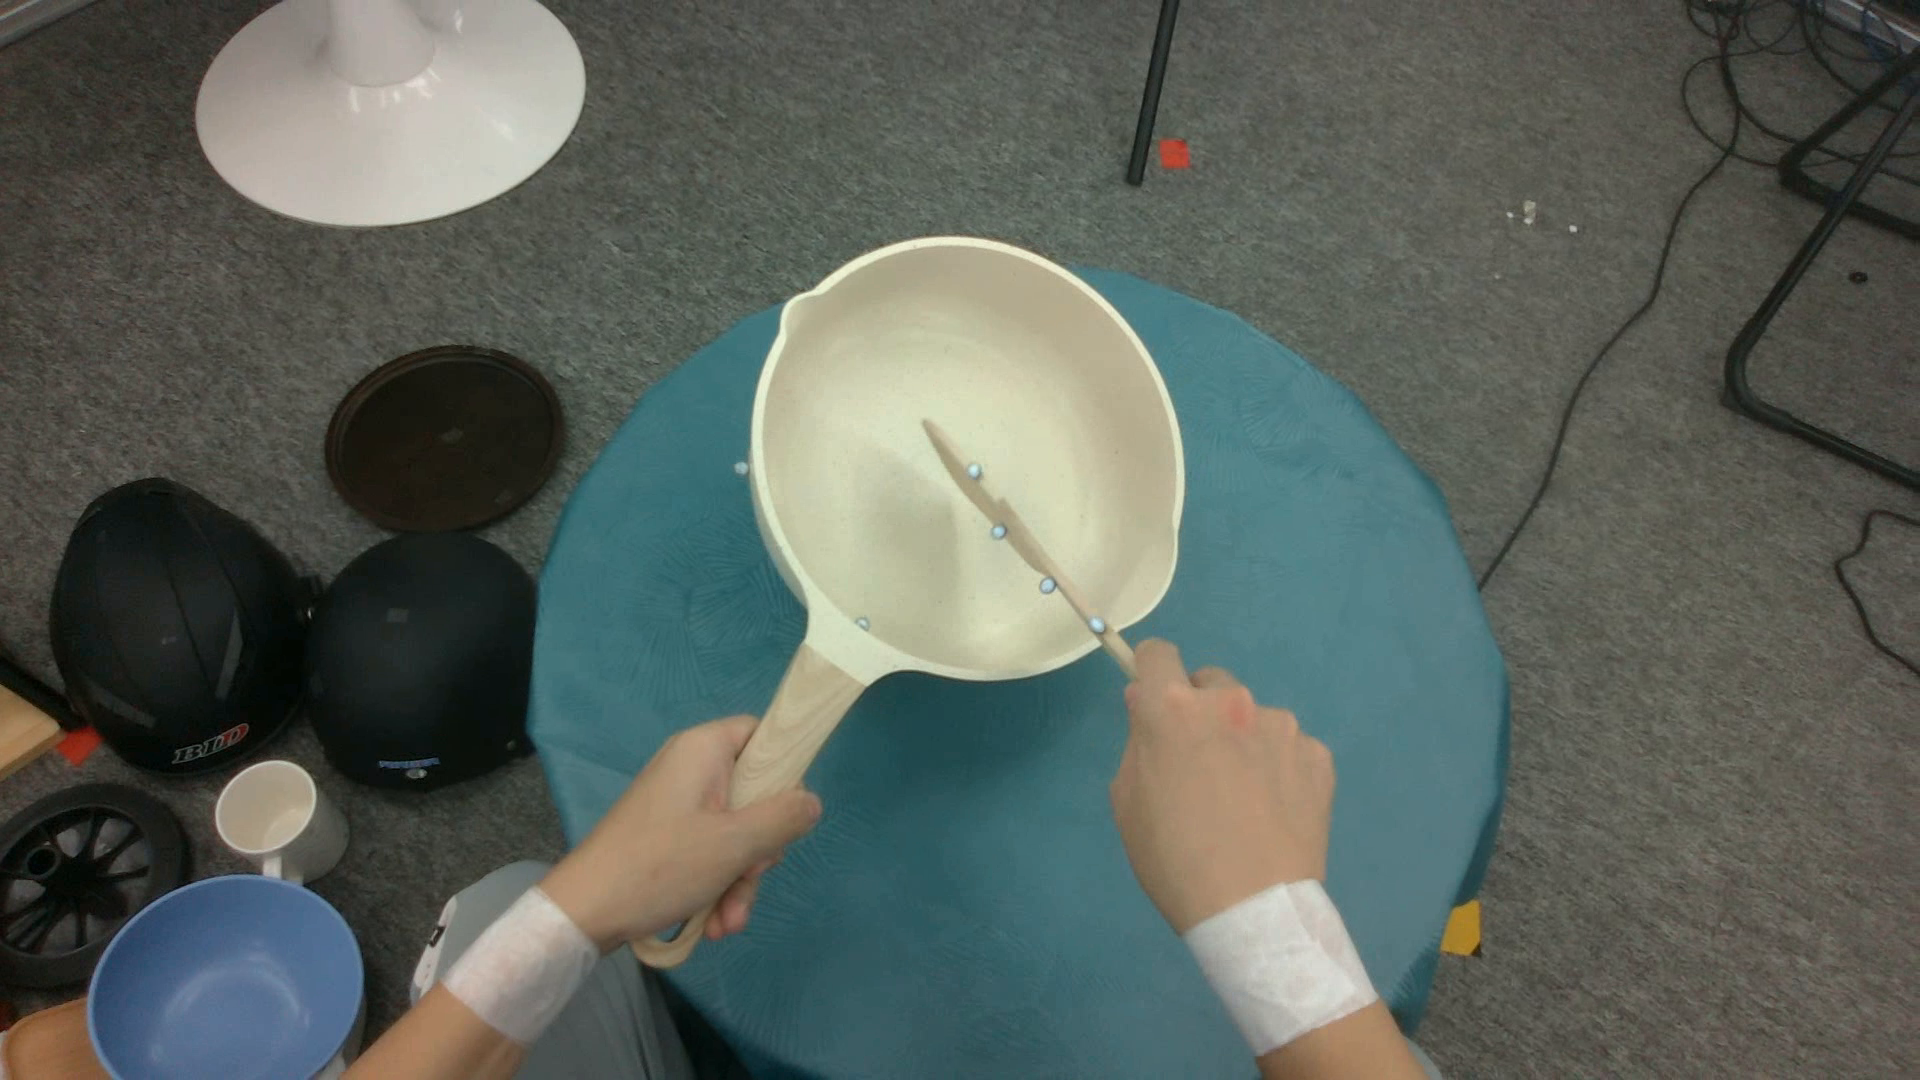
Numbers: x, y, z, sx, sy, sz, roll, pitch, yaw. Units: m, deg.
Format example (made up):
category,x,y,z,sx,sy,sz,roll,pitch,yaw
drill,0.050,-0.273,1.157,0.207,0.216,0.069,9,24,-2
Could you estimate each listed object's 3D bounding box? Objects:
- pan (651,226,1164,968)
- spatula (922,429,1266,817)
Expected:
category,x,y,z,sx,sy,sz,roll,pitch,yaw
pan,-0.052,0.026,0.757,0.263,0.101,0.436,34,69,-11
spatula,0.062,0.034,0.697,0.010,0.072,0.293,-39,47,-2
